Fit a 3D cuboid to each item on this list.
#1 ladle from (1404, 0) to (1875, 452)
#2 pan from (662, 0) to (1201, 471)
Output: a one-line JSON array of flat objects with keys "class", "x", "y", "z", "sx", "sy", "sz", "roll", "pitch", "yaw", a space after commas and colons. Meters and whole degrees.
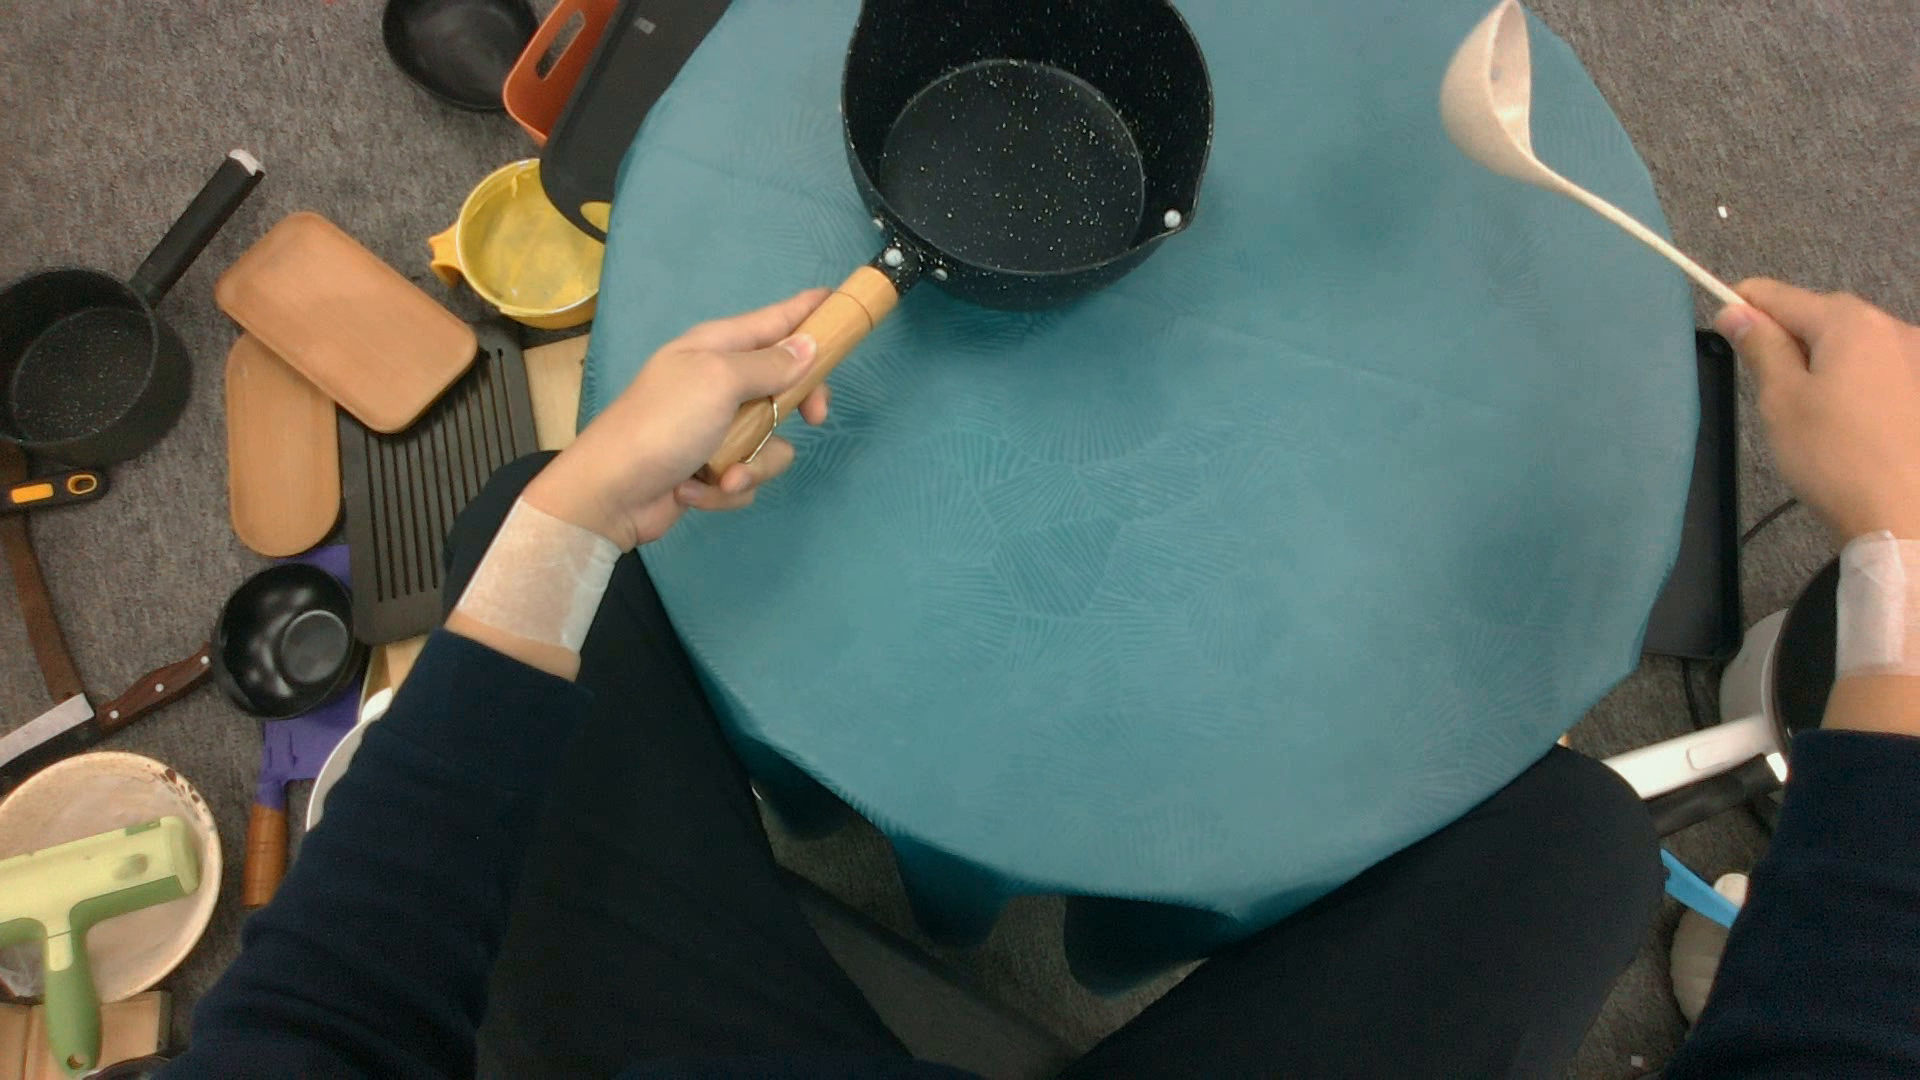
[{"class": "ladle", "x": 0.315, "y": -0.153, "z": 0.621, "sx": 0.275, "sy": 0.089, "sz": 0.069, "roll": 47, "pitch": 118, "yaw": 23}, {"class": "pan", "x": -0.022, "y": -0.152, "z": 0.688, "sx": 0.207, "sy": 0.108, "sz": 0.344, "roll": 37, "pitch": 75, "yaw": 4}]
